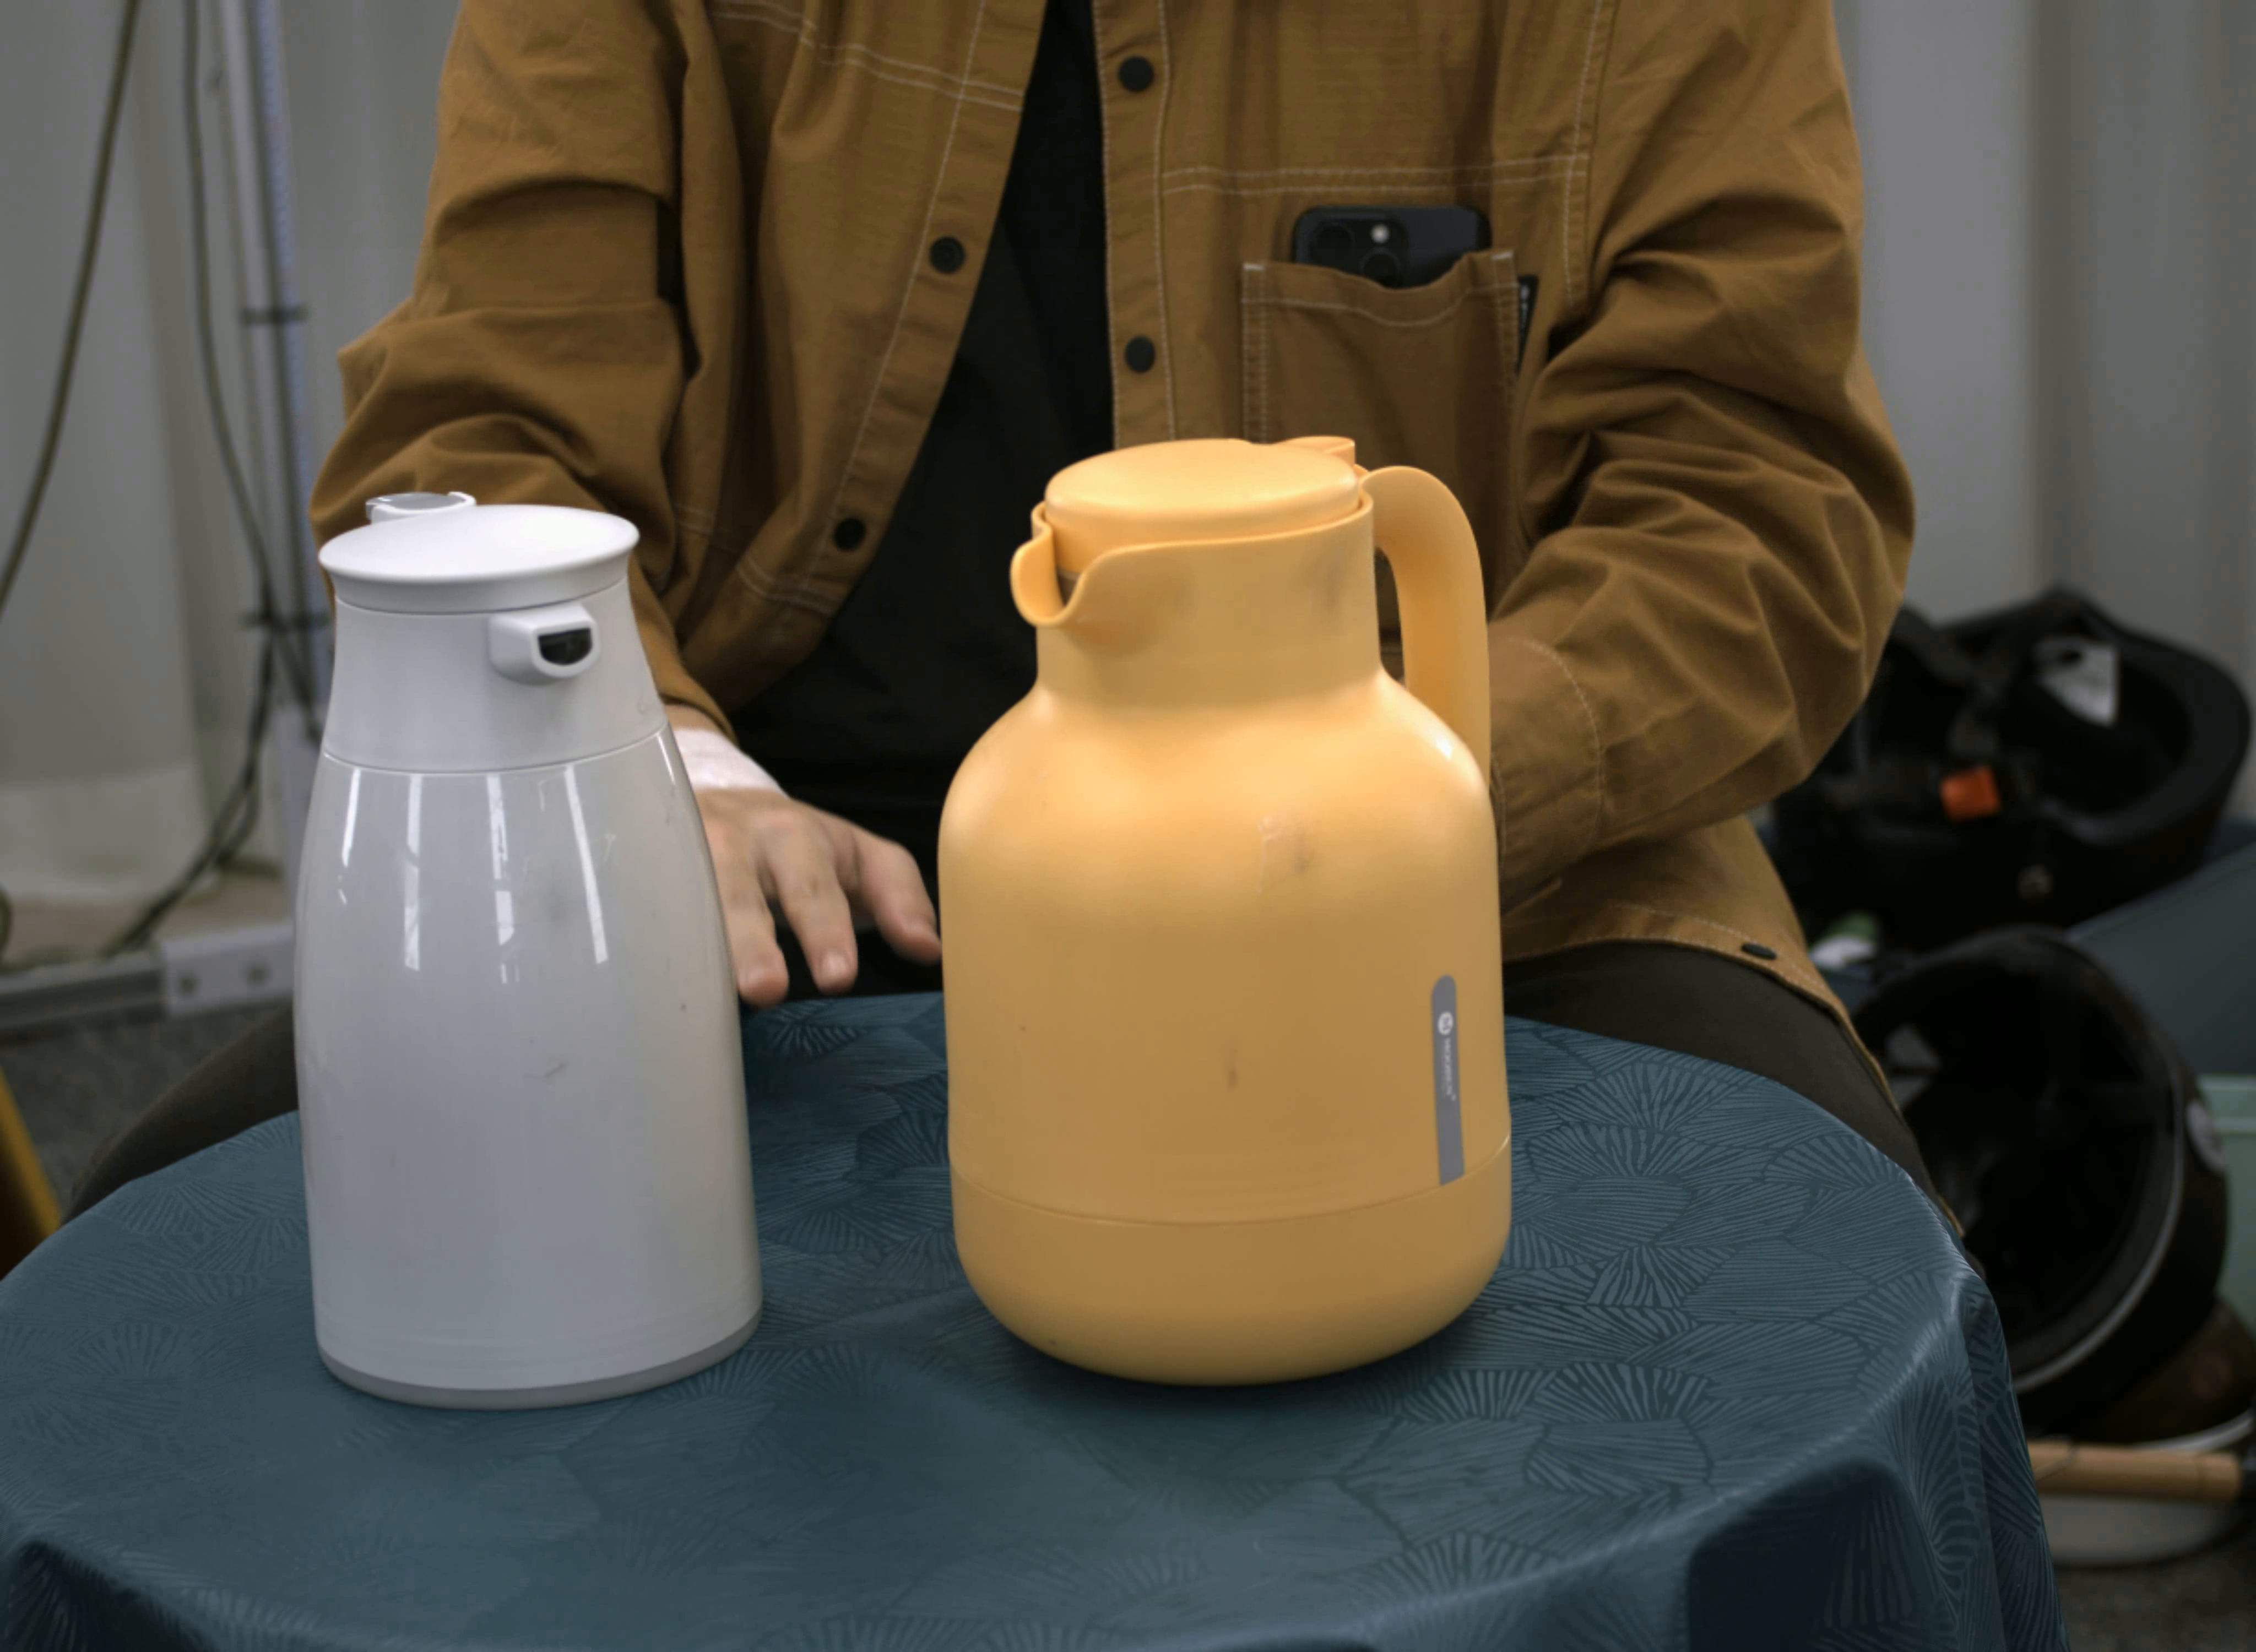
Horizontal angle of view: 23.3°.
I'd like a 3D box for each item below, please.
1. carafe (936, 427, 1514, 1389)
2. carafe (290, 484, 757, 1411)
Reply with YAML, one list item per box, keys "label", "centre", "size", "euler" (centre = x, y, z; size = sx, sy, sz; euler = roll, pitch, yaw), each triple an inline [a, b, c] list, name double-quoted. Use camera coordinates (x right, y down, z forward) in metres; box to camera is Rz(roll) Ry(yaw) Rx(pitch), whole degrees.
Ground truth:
- label: "carafe"
  centre: [0.039, 0.015, 1.577]
  size: [0.164, 0.259, 0.202]
  euler: [11, 21, 39]
- label: "carafe"
  centre: [-0.190, 0.027, 1.603]
  size: [0.132, 0.247, 0.169]
  euler: [-11, 16, -28]
